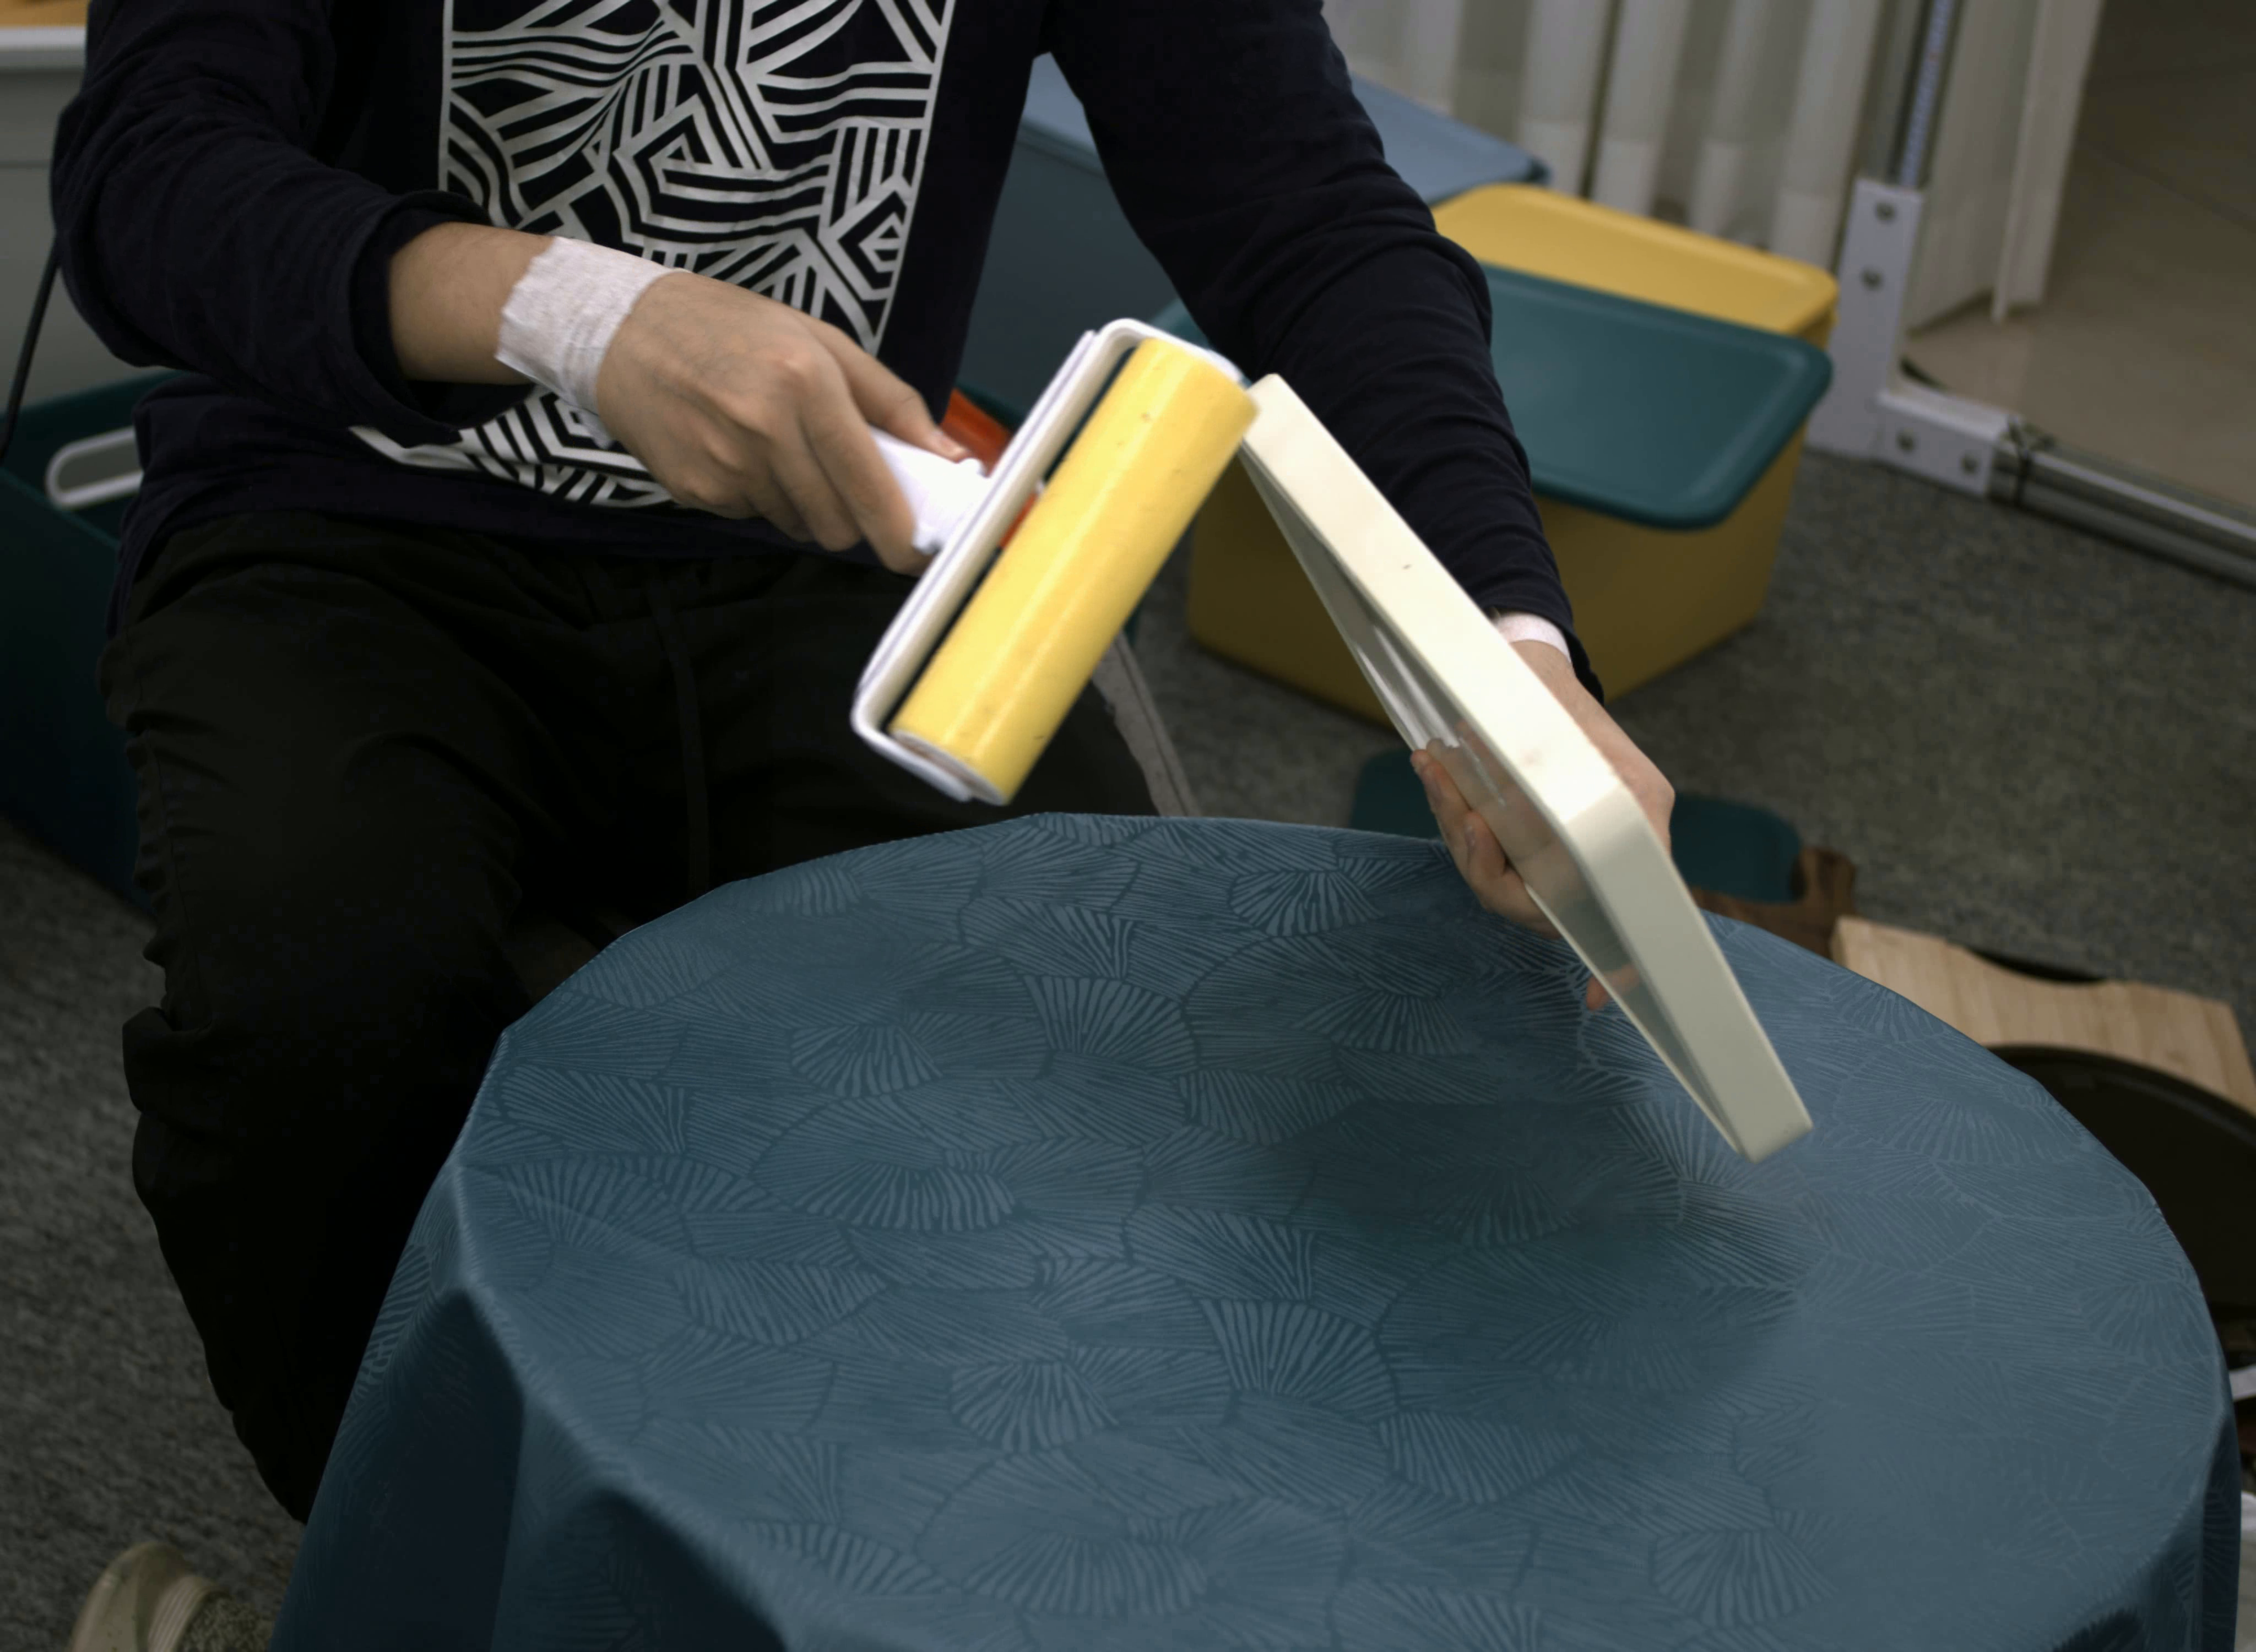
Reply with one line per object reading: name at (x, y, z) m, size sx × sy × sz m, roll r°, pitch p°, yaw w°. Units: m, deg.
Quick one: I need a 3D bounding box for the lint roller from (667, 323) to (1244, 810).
lint roller at (-0.082, -0.117, 1.819) m, size 0.193 × 0.174 × 0.051 m, roll 28°, pitch -12°, yaw 18°

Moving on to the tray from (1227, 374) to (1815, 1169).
tray at (0.133, -0.022, 1.858) m, size 0.027 × 0.190 × 0.303 m, roll -33°, pitch 39°, yaw -2°
